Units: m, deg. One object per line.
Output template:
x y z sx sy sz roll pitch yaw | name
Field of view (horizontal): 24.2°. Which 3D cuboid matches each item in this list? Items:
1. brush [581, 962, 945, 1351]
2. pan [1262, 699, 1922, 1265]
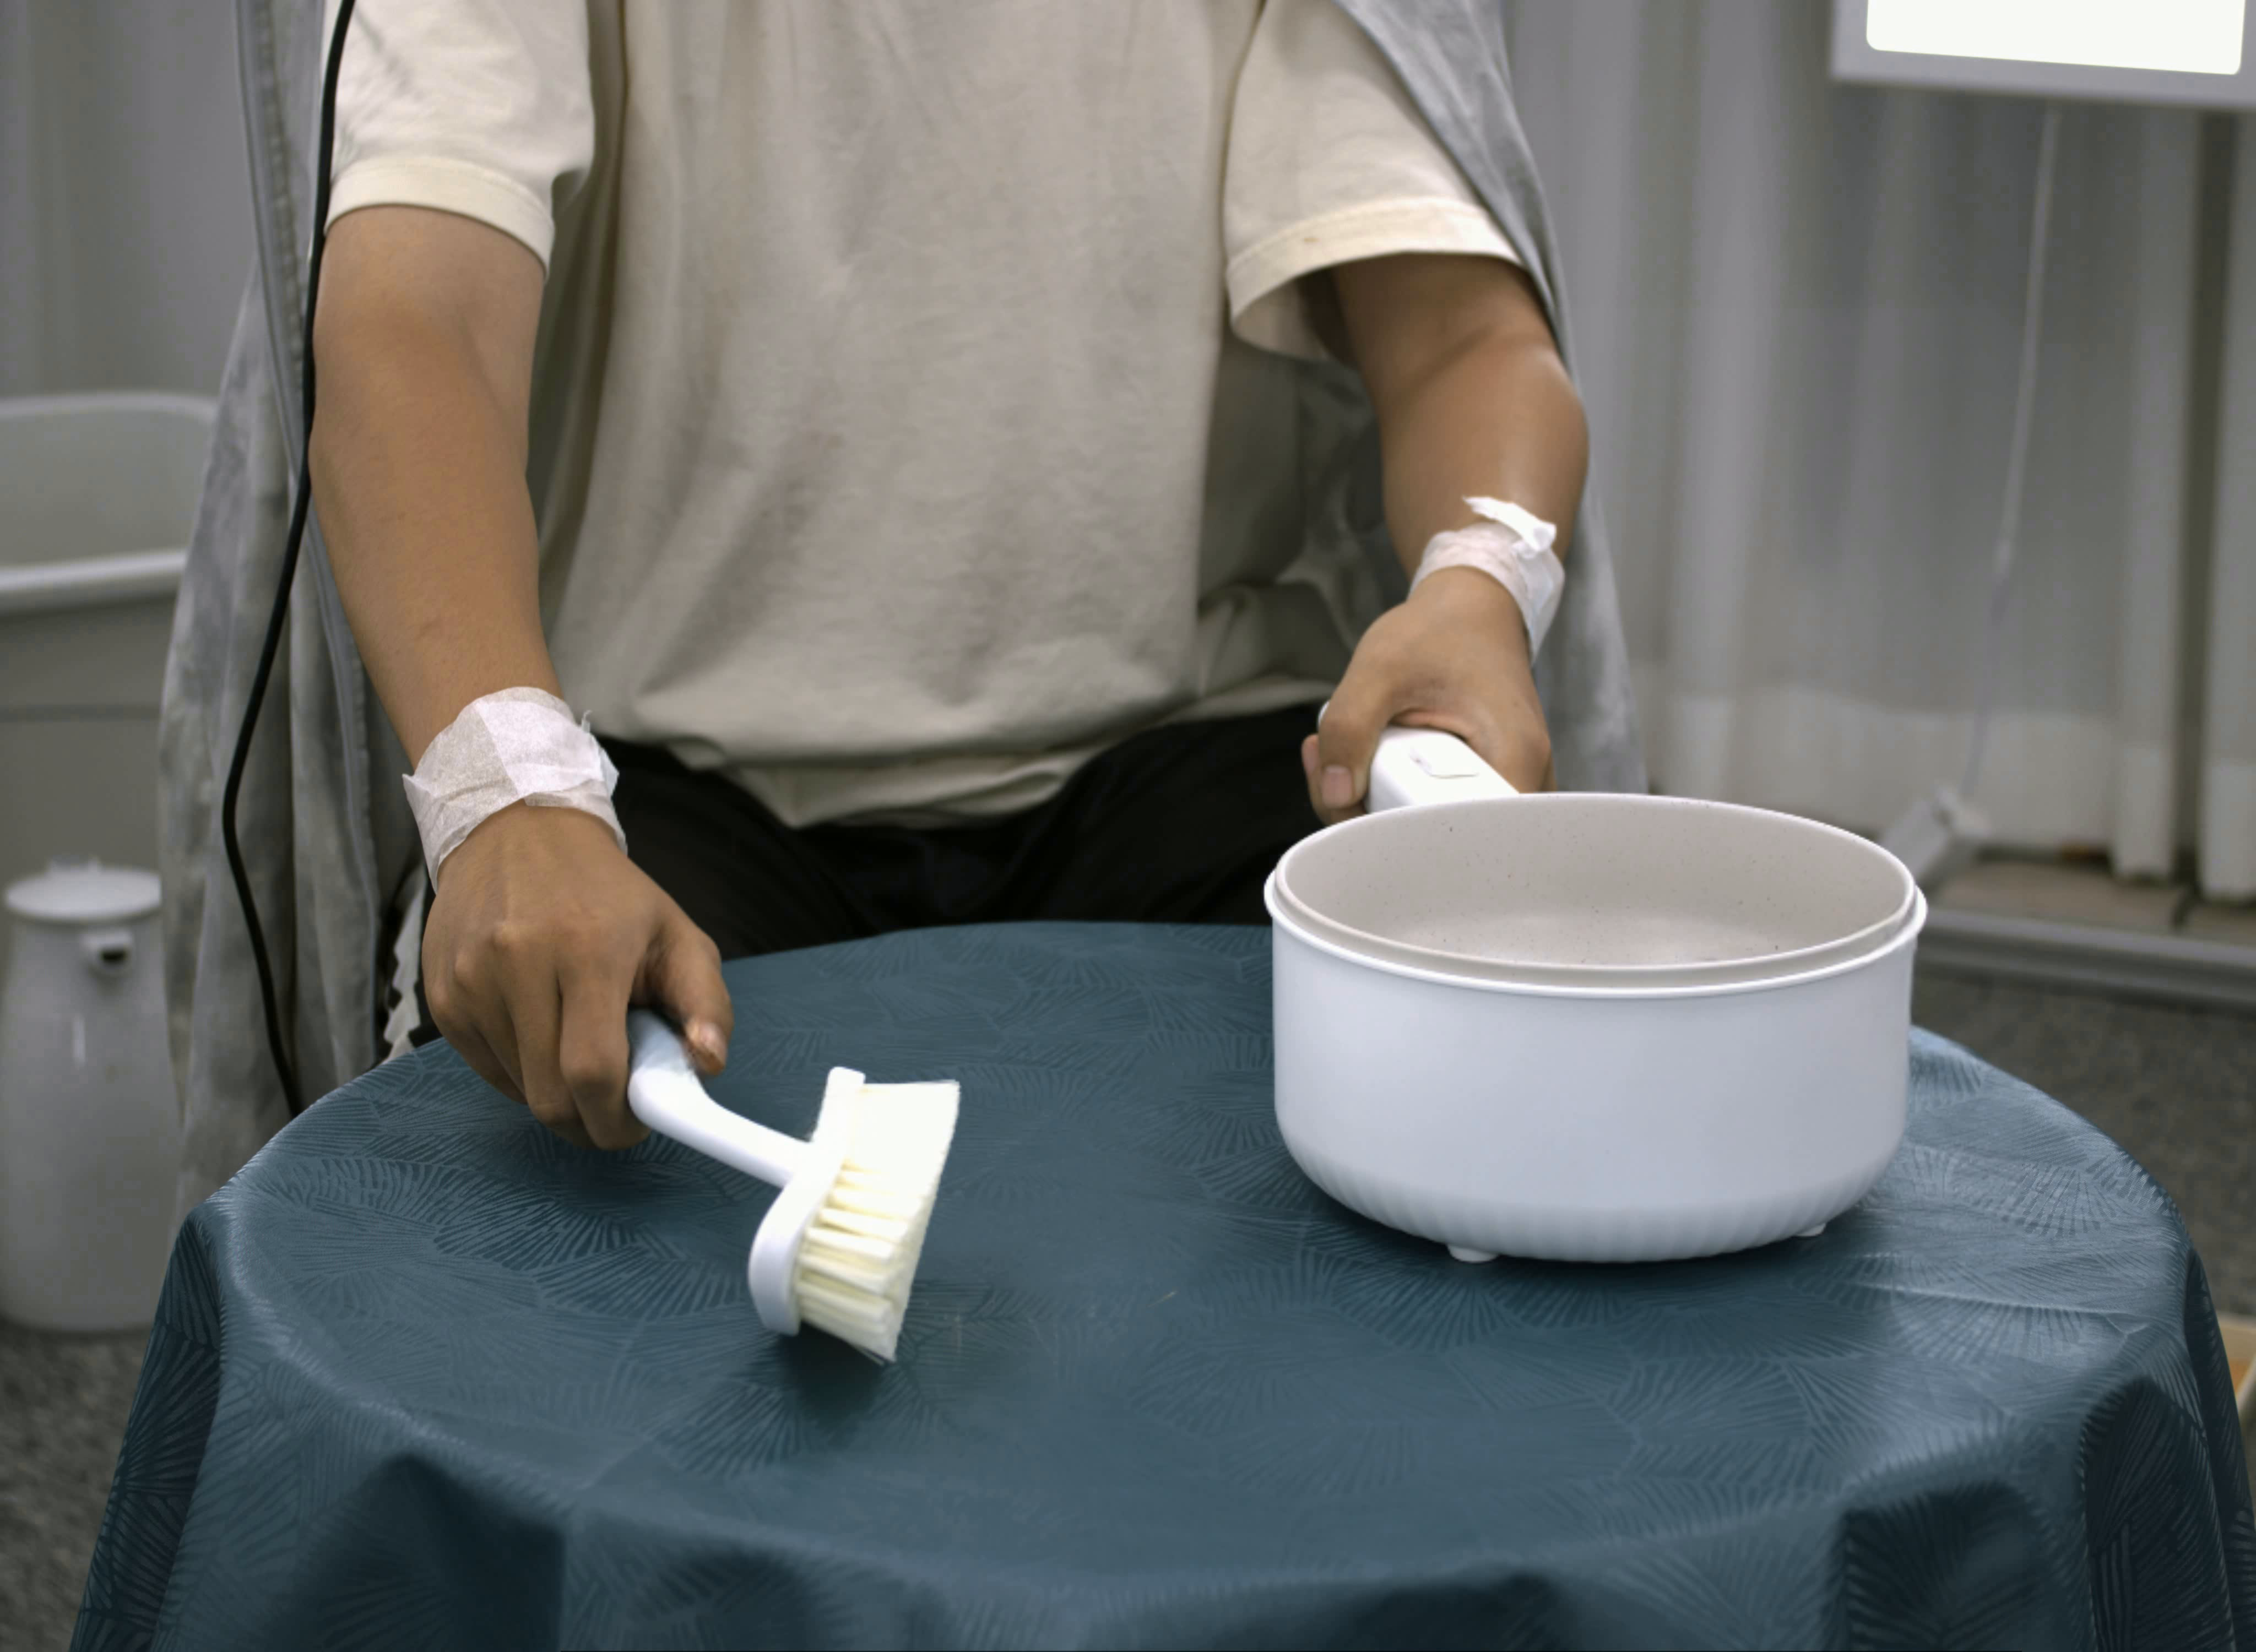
-0.098 0.088 1.584 0.083 0.085 0.323 -39 16 -2 | brush
0.124 0.045 1.689 0.201 0.103 0.351 -4 15 -13 | pan
